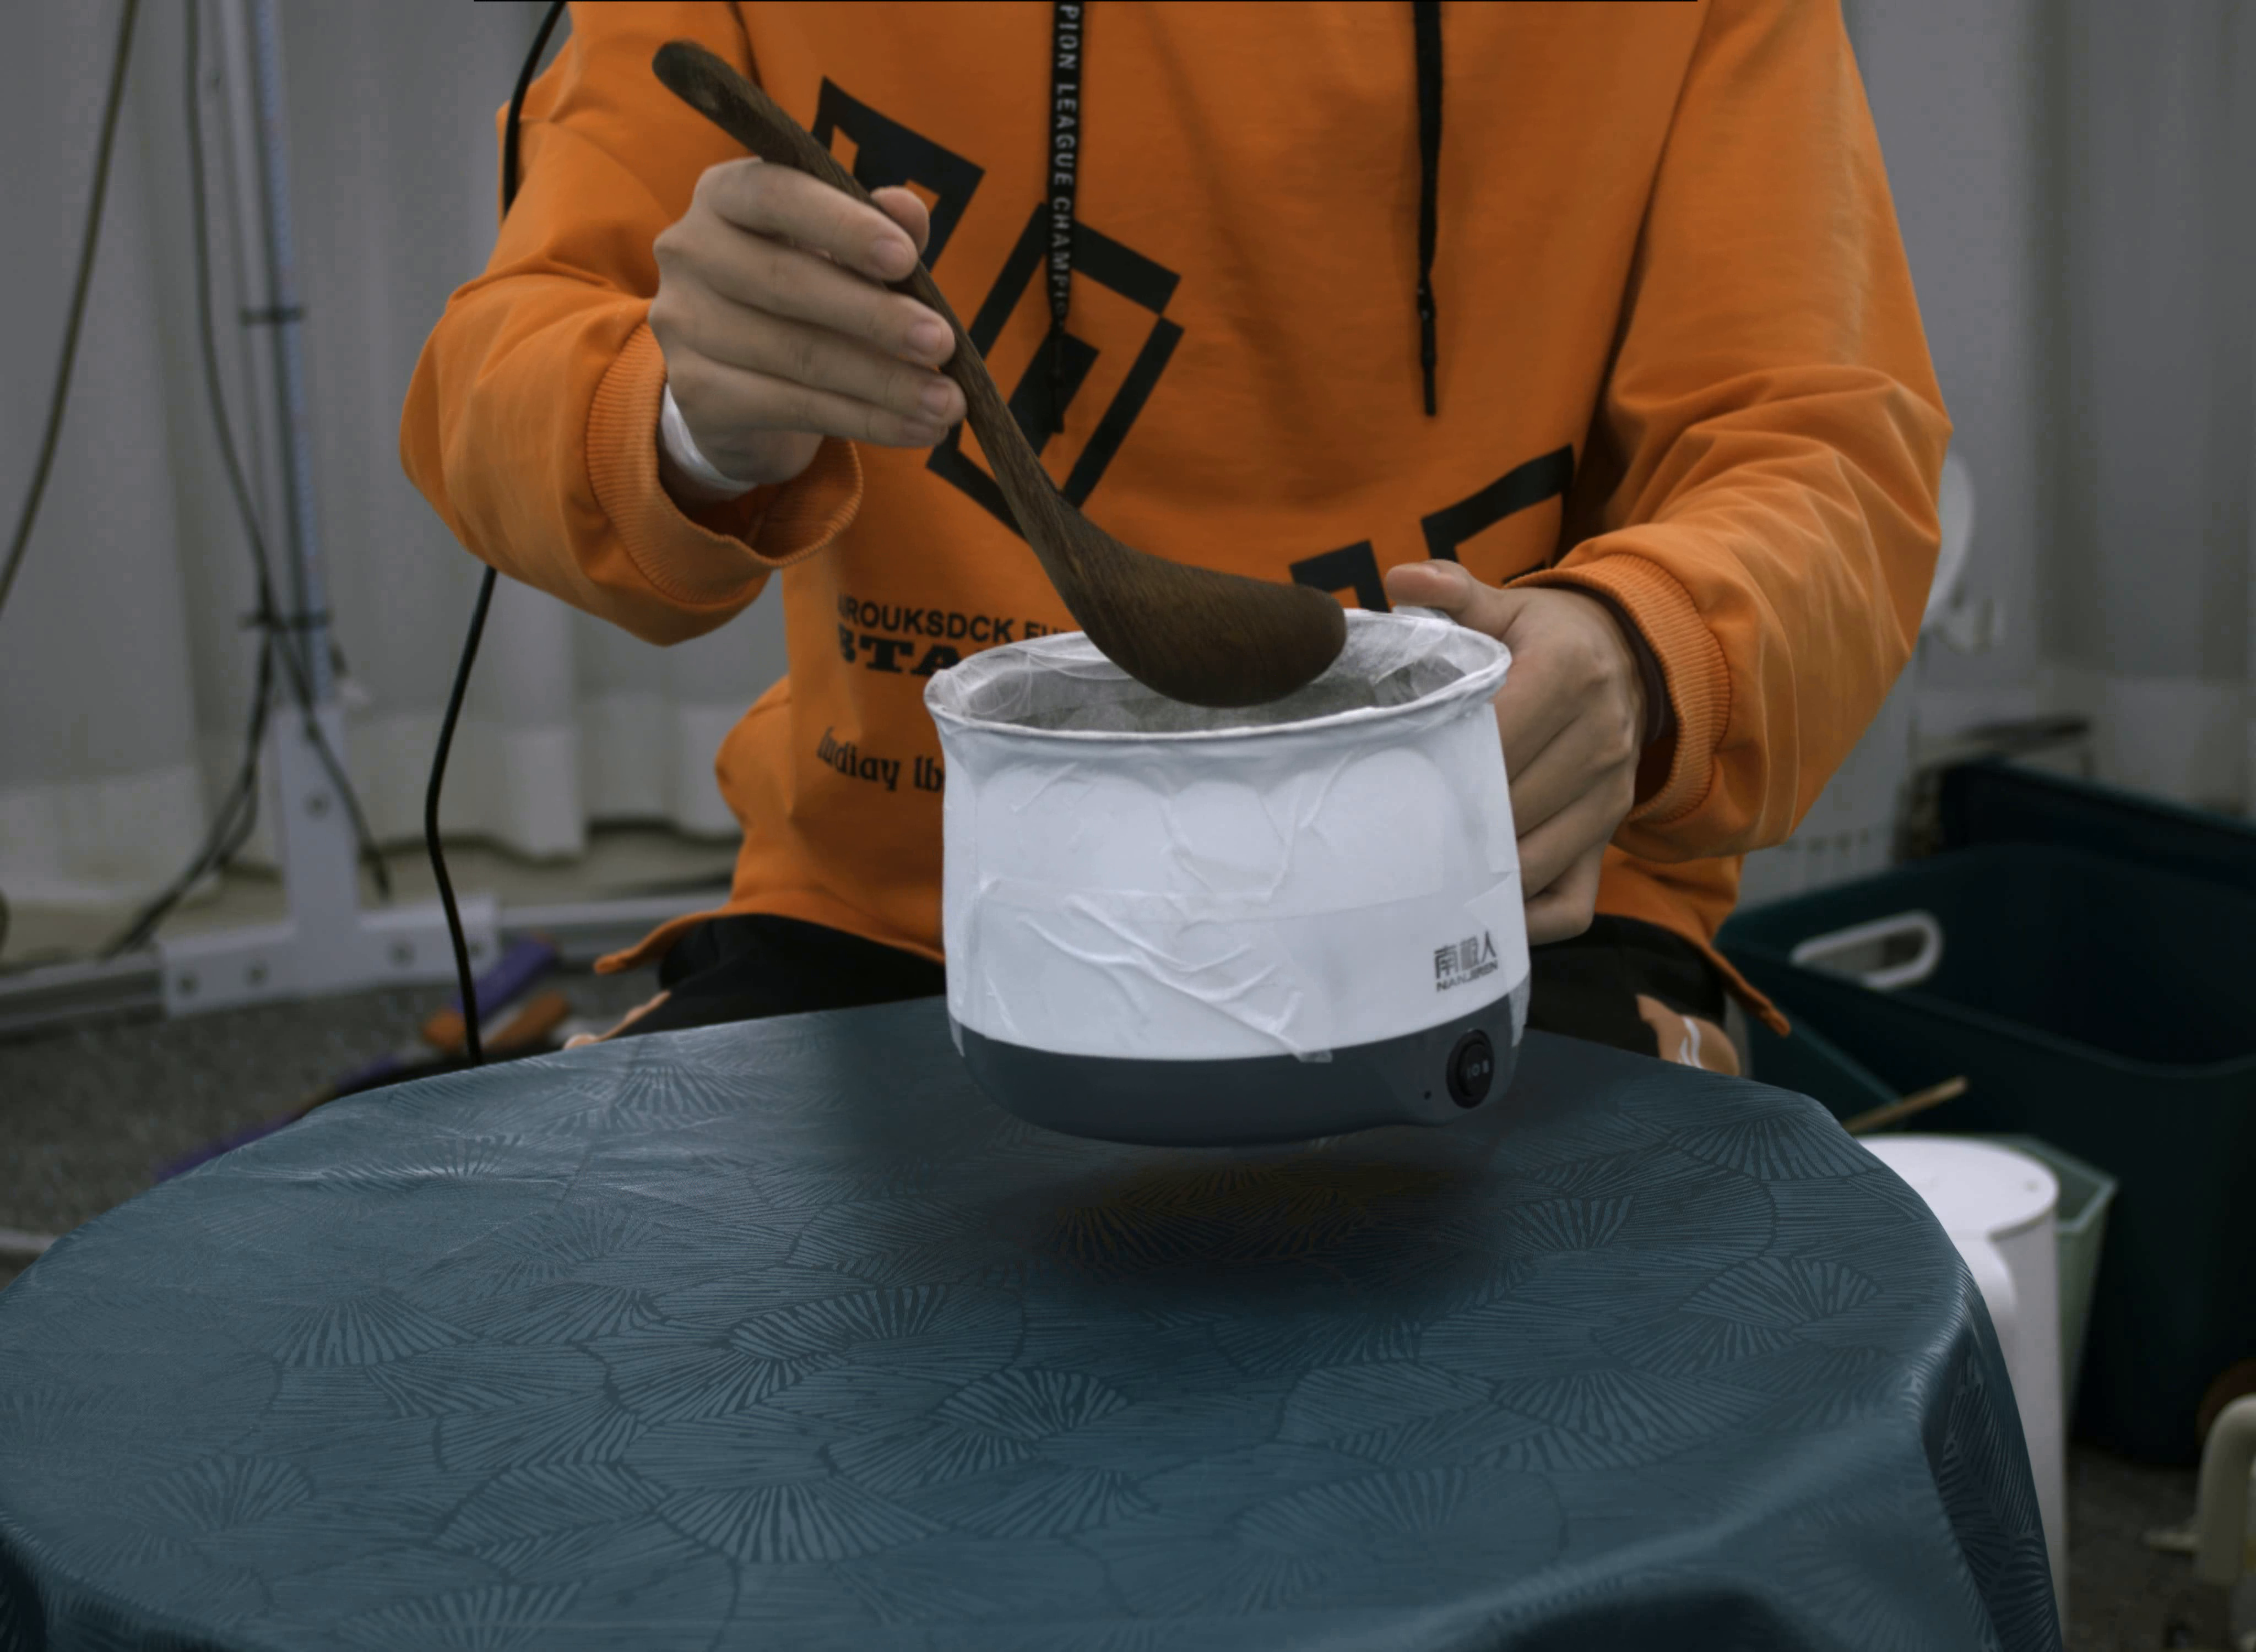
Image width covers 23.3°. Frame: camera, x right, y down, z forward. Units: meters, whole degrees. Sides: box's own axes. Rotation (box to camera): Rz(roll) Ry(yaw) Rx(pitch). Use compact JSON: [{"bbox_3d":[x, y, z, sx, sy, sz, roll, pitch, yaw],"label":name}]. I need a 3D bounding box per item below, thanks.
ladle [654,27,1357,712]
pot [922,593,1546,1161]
[{"bbox_3d":[-0.035,-0.146,1.665,0.071,0.275,0.075,-34,-7,-27],"label":"ladle"},{"bbox_3d":[0.047,0.009,1.670,0.179,0.136,0.233,7,17,38],"label":"pot"}]
